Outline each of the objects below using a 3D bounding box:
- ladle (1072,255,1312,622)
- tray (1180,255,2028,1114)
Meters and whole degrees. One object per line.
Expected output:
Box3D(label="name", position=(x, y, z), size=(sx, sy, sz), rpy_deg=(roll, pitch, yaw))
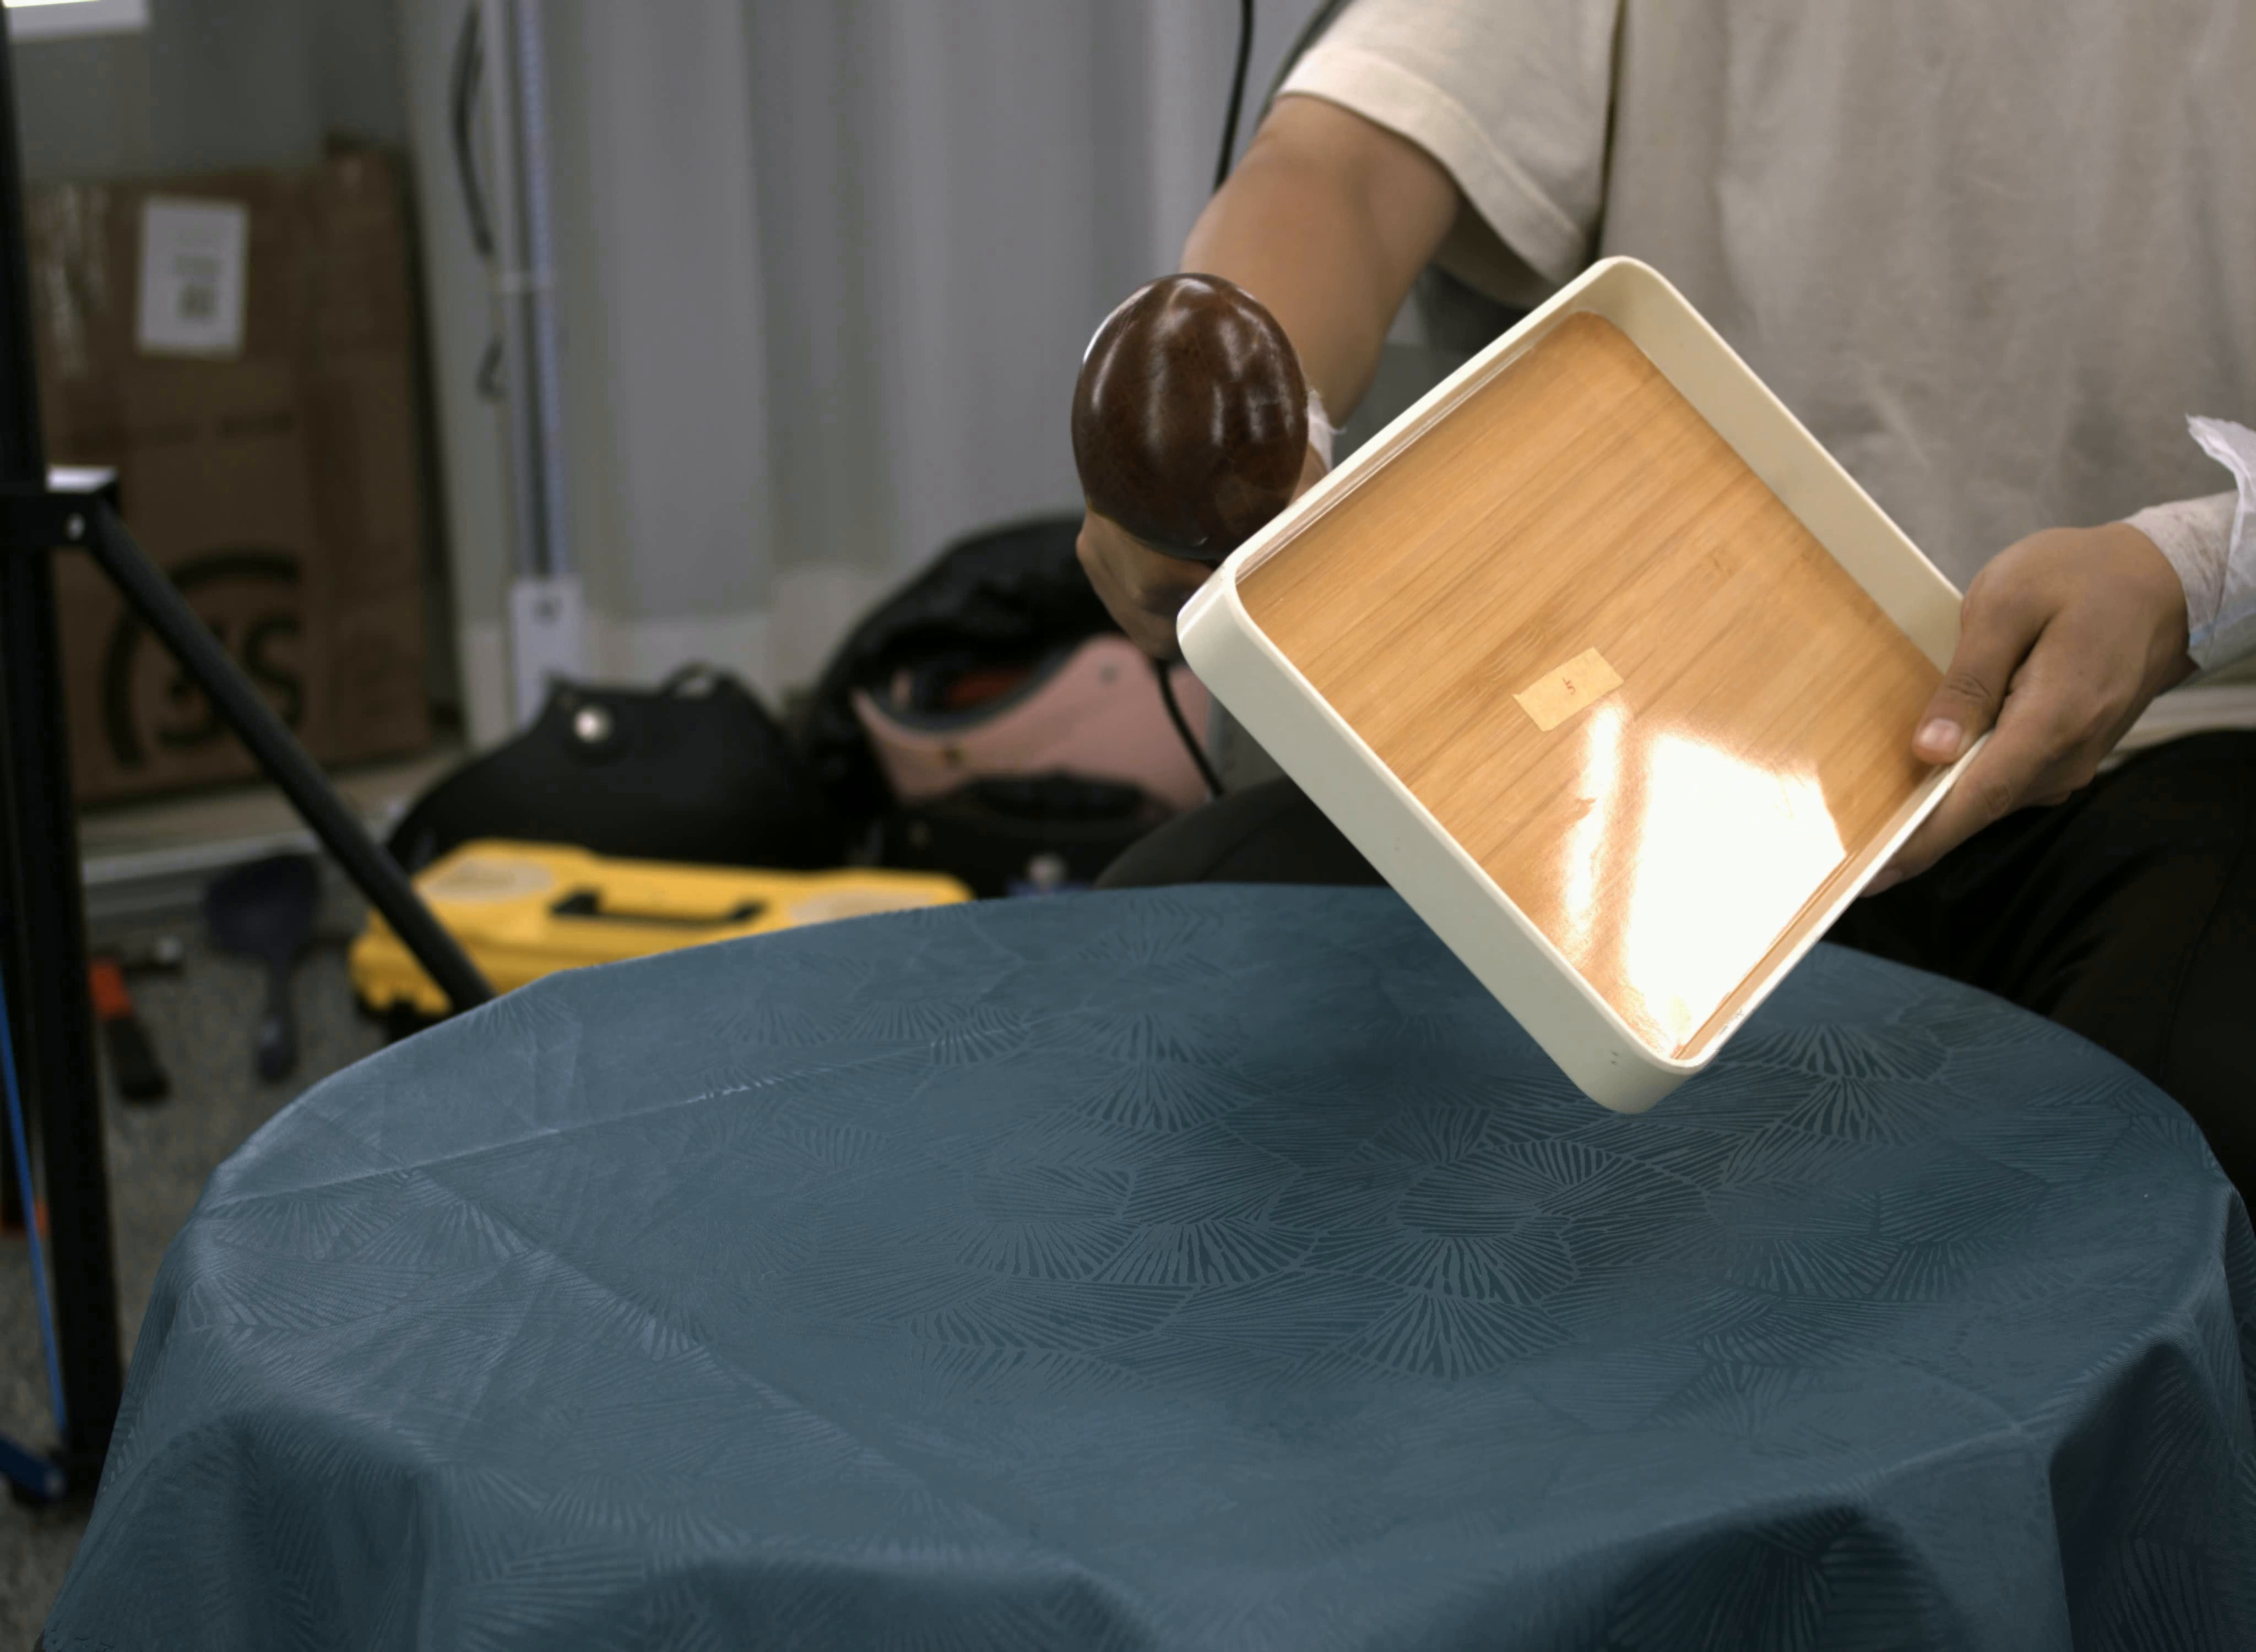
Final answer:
Box3D(label="ladle", position=(0.033, -0.105, 1.592), size=(0.077, 0.082, 0.271), rpy_deg=(-11, -9, 8))
Box3D(label="tray", position=(0.146, -0.048, 1.540), size=(0.027, 0.192, 0.296), rpy_deg=(-47, -5, 37))
